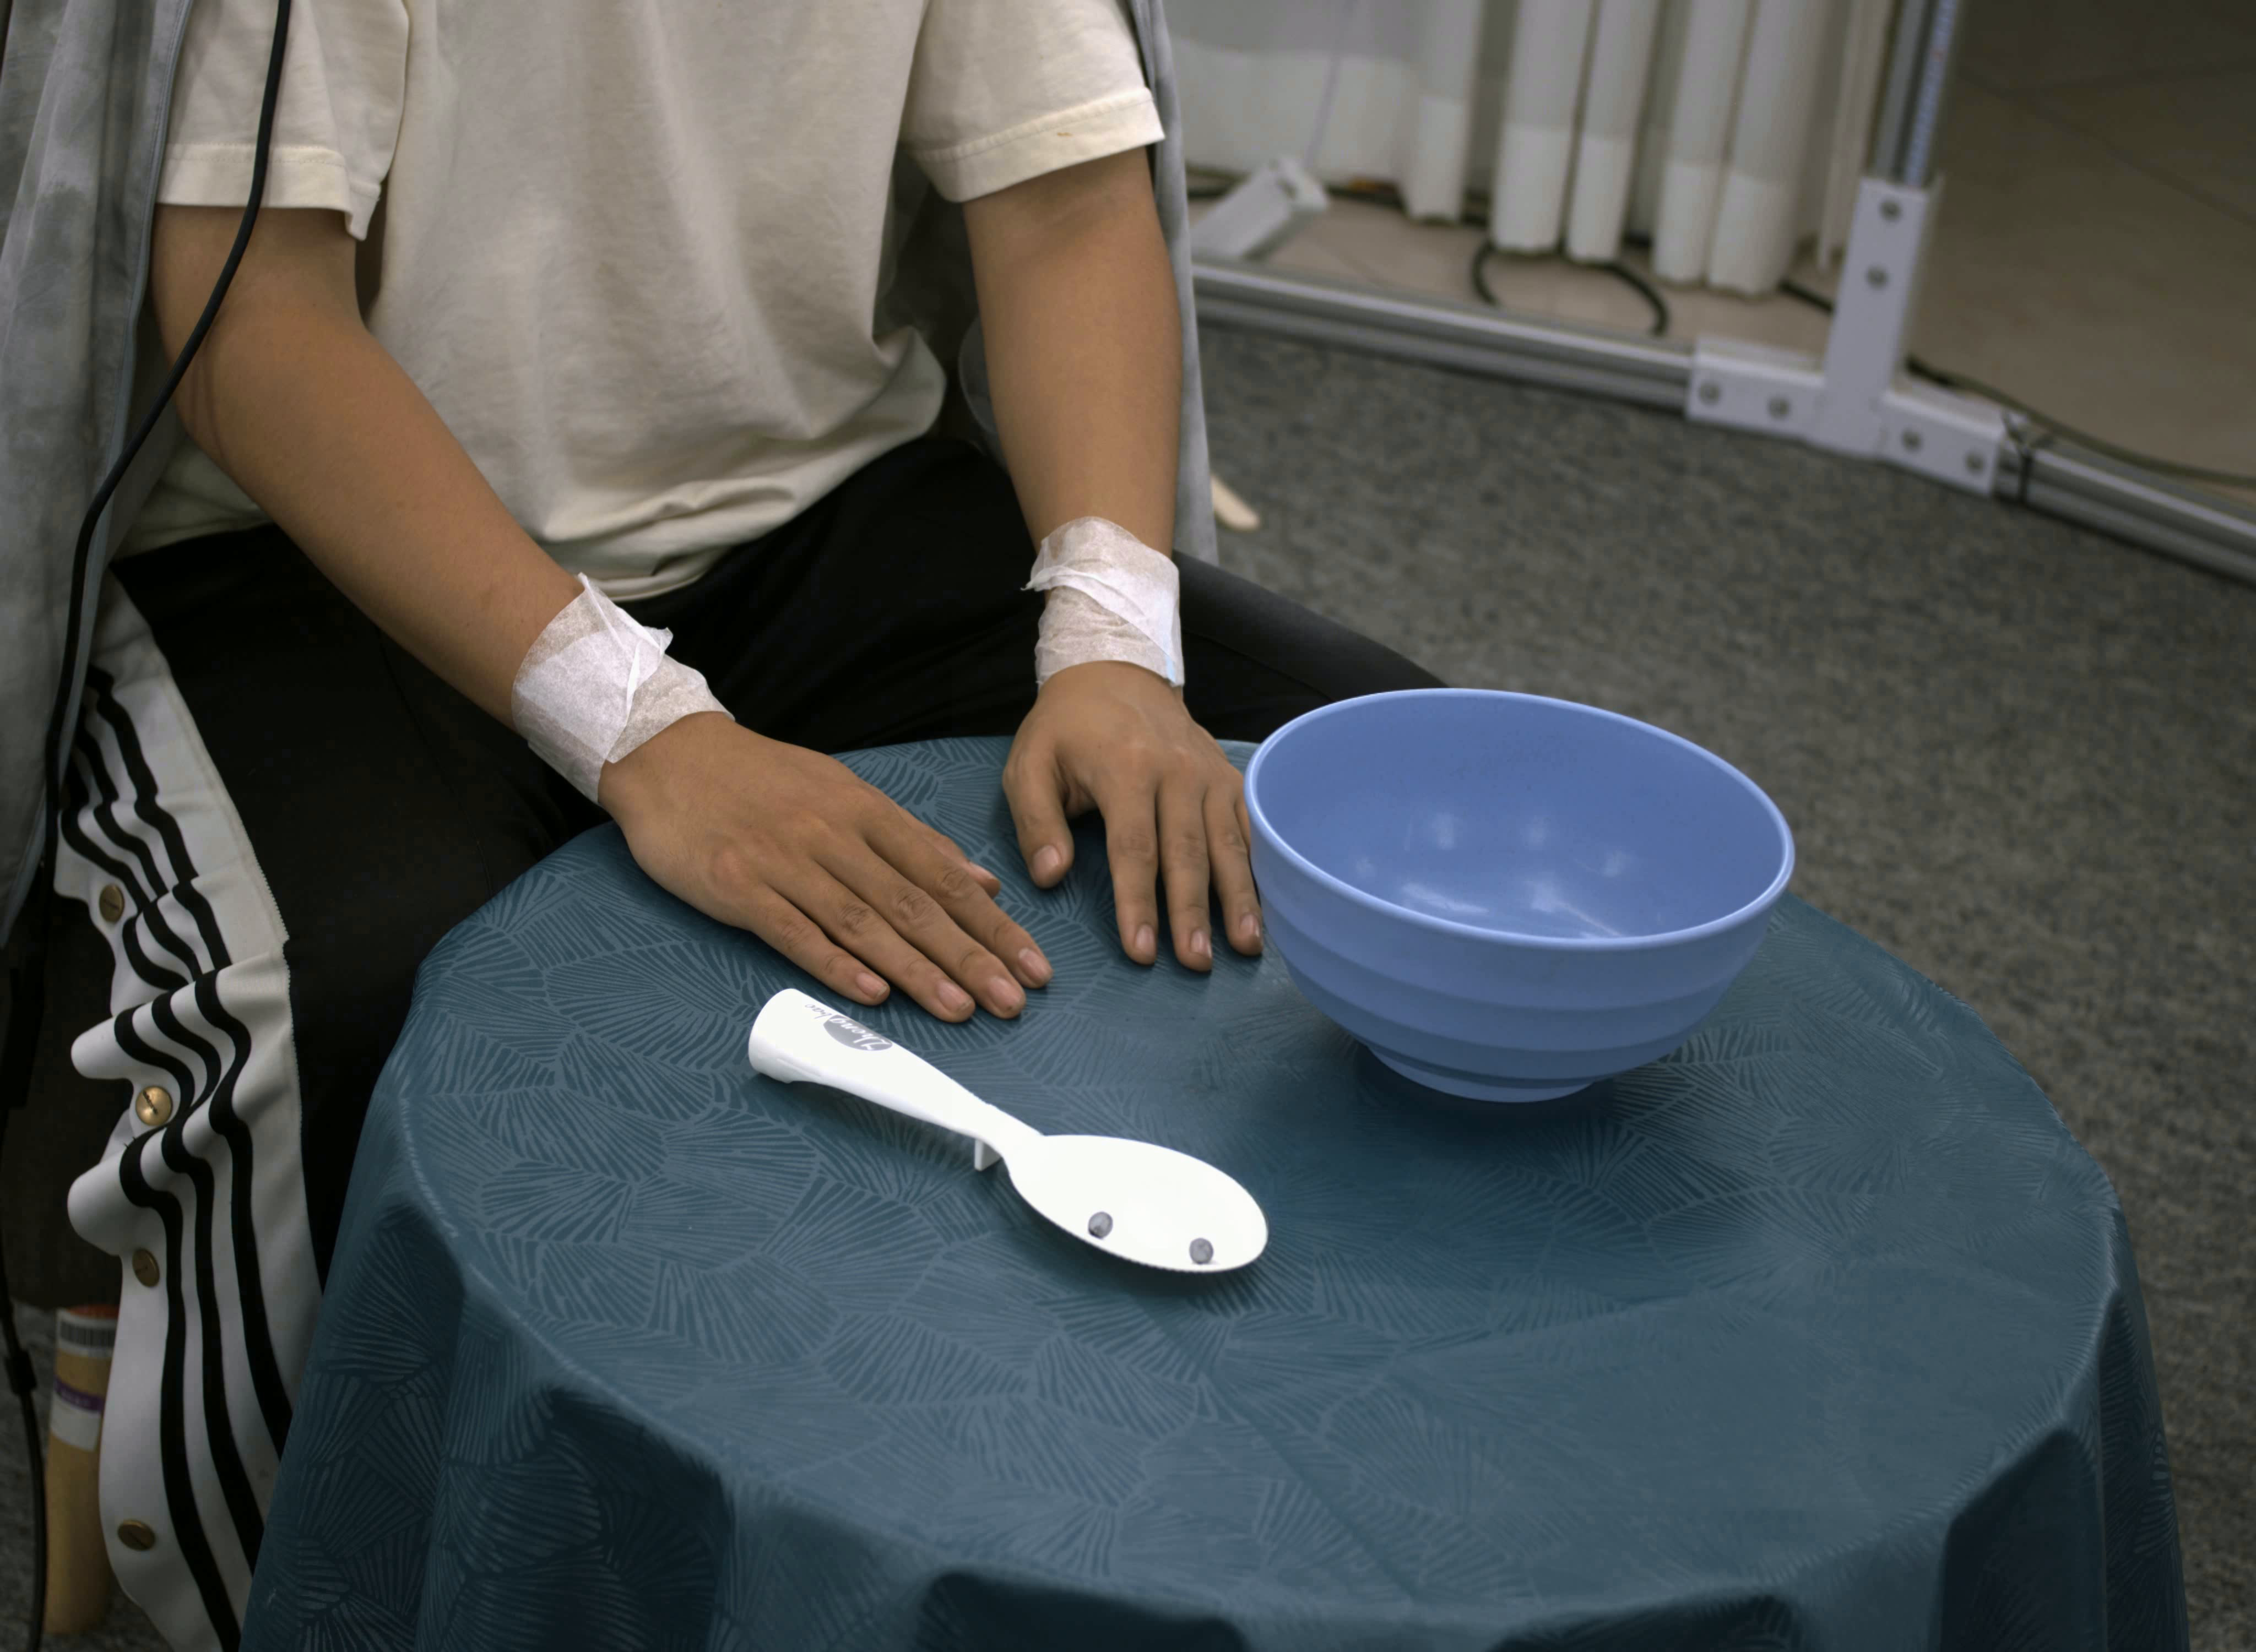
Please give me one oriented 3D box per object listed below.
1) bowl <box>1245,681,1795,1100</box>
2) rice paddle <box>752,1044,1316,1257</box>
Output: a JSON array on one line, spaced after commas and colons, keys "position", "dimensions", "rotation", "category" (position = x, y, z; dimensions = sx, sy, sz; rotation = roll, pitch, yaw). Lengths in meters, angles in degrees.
[{"position": [0.134, 0.034, 1.904], "dimensions": [0.196, 0.095, 0.198], "rotation": [5, 29, -3], "category": "bowl"}, {"position": [-0.031, 0.113, 1.797], "dimensions": [0.206, 0.029, 0.068], "rotation": [14, 15, 23], "category": "rice paddle"}]
